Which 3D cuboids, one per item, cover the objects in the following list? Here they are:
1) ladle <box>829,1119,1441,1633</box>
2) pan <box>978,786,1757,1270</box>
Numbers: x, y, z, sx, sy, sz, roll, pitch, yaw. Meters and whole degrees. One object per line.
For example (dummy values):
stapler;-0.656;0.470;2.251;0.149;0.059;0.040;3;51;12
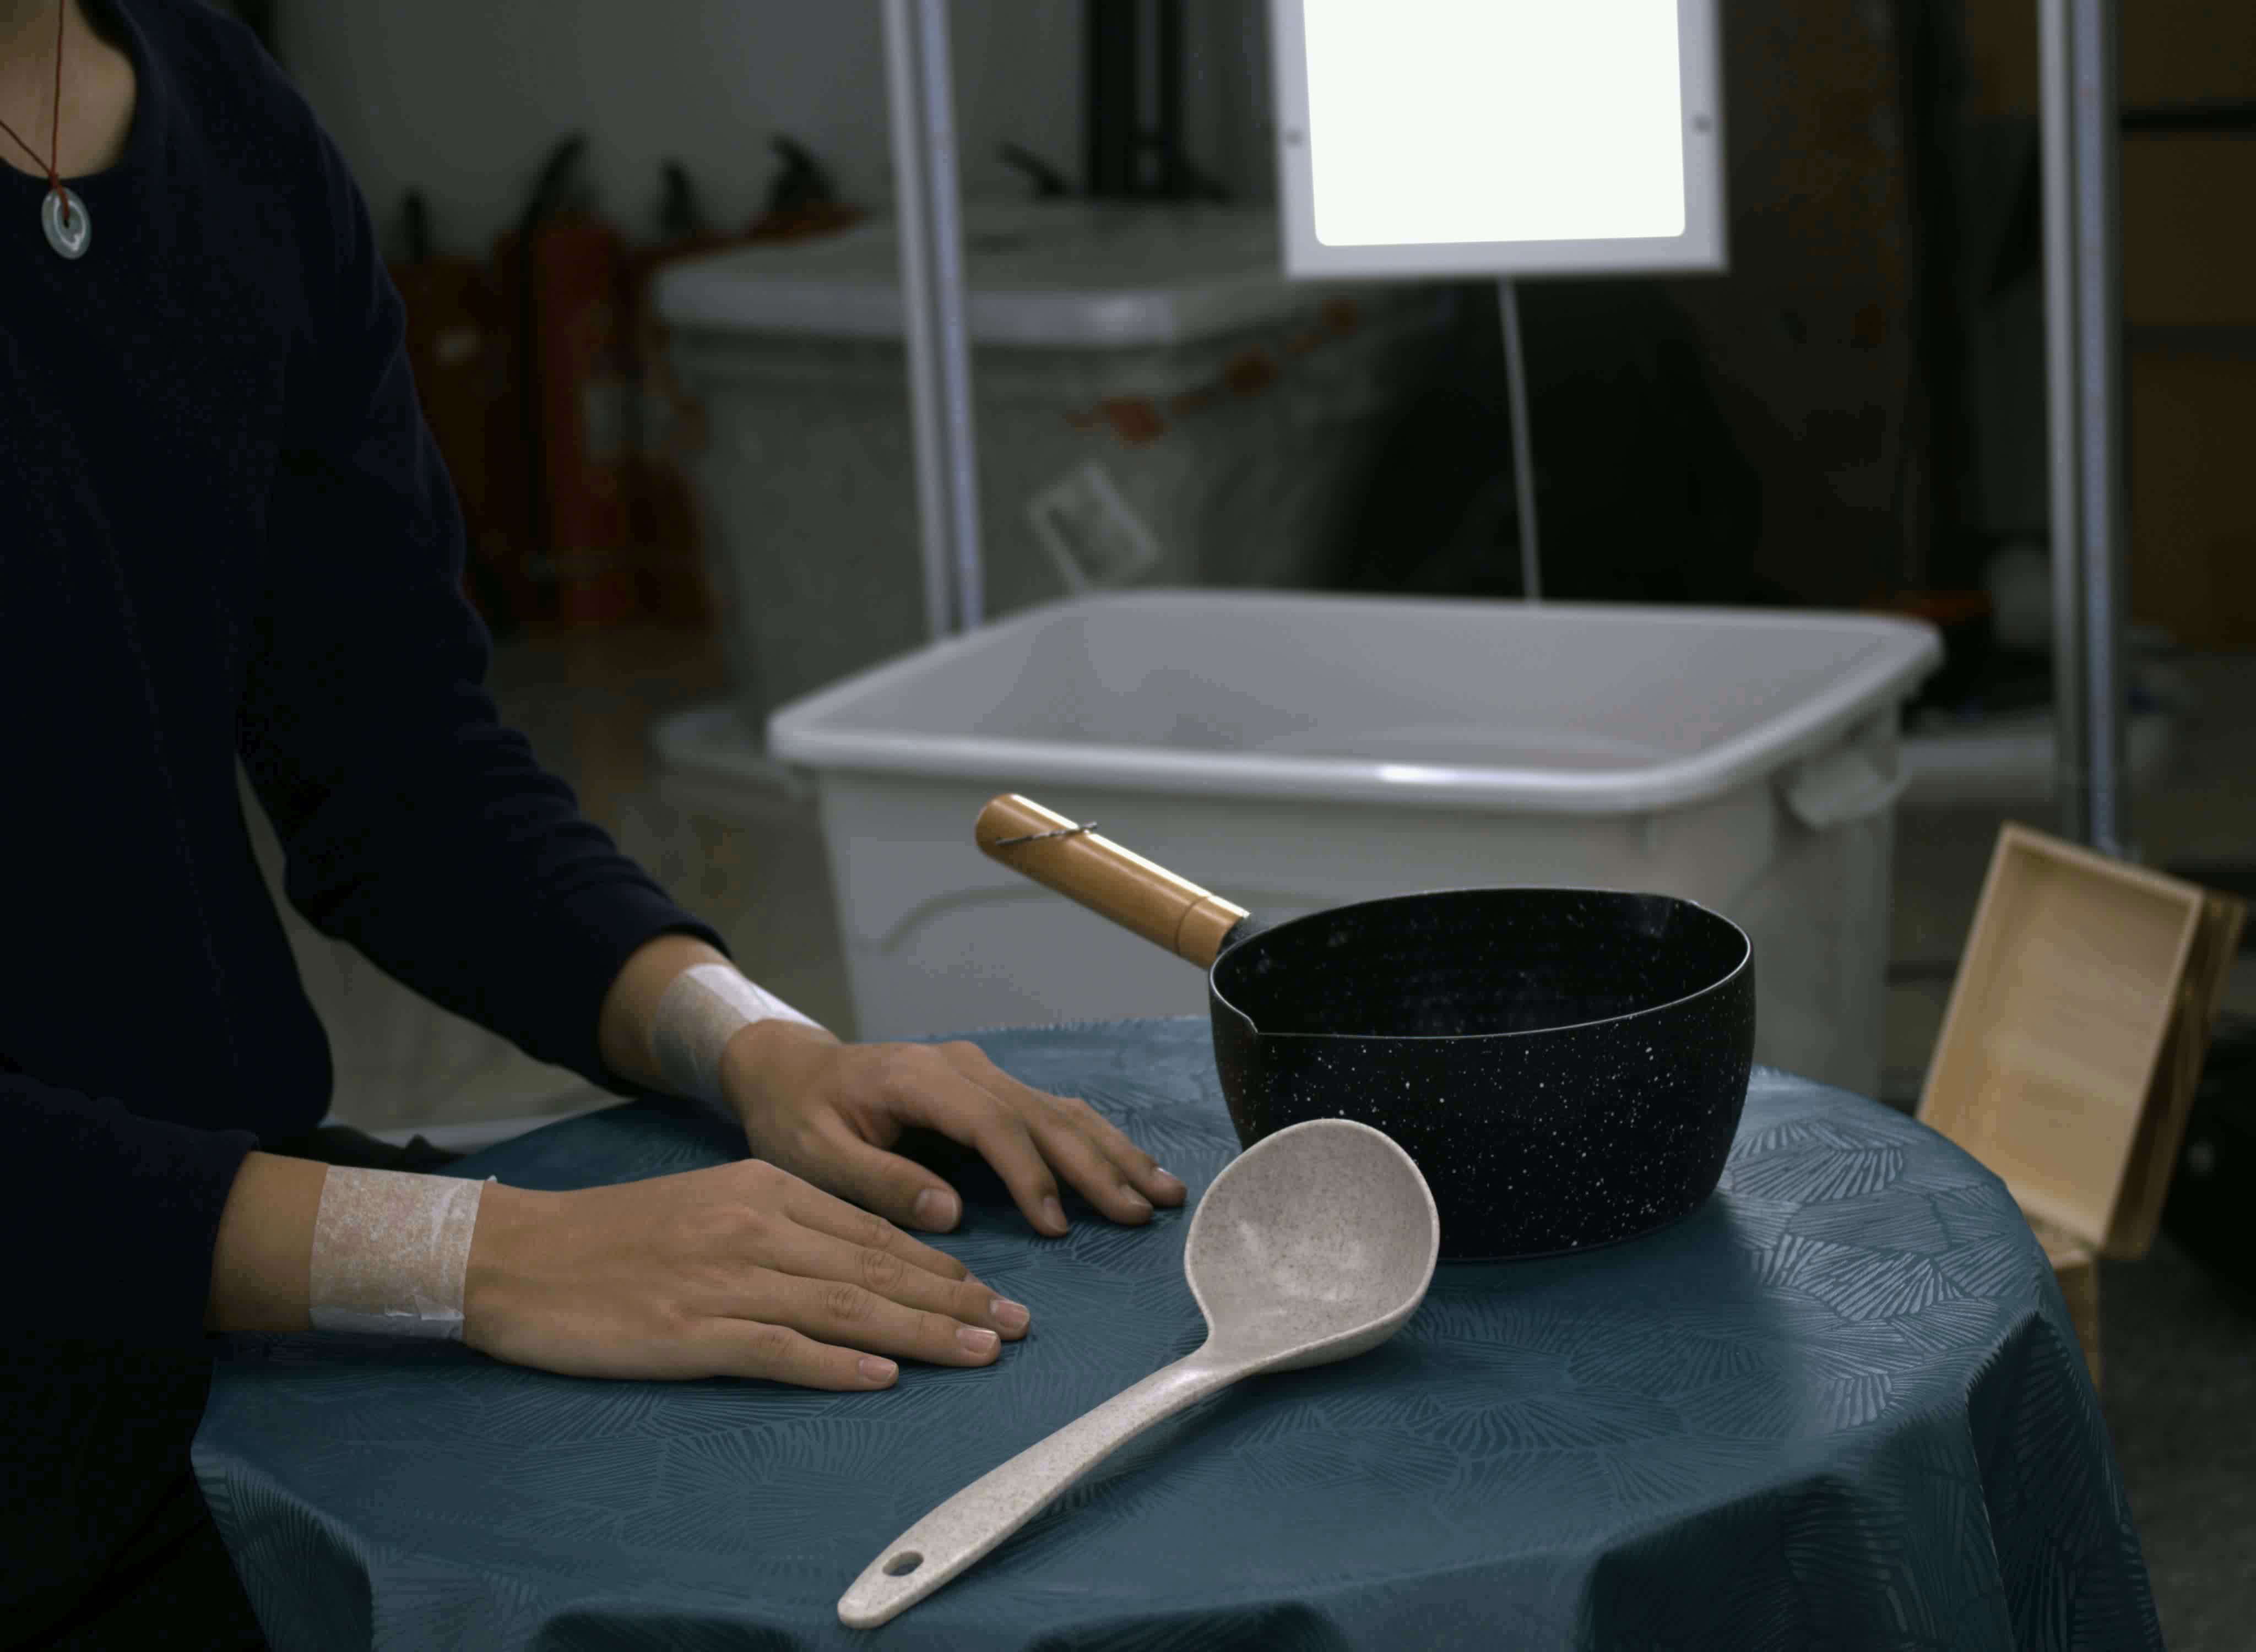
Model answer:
ladle;-0.003;0.158;1.632;0.091;0.070;0.268;13;22;33
pan;0.066;0.063;1.905;0.202;0.108;0.350;-18;20;-39
